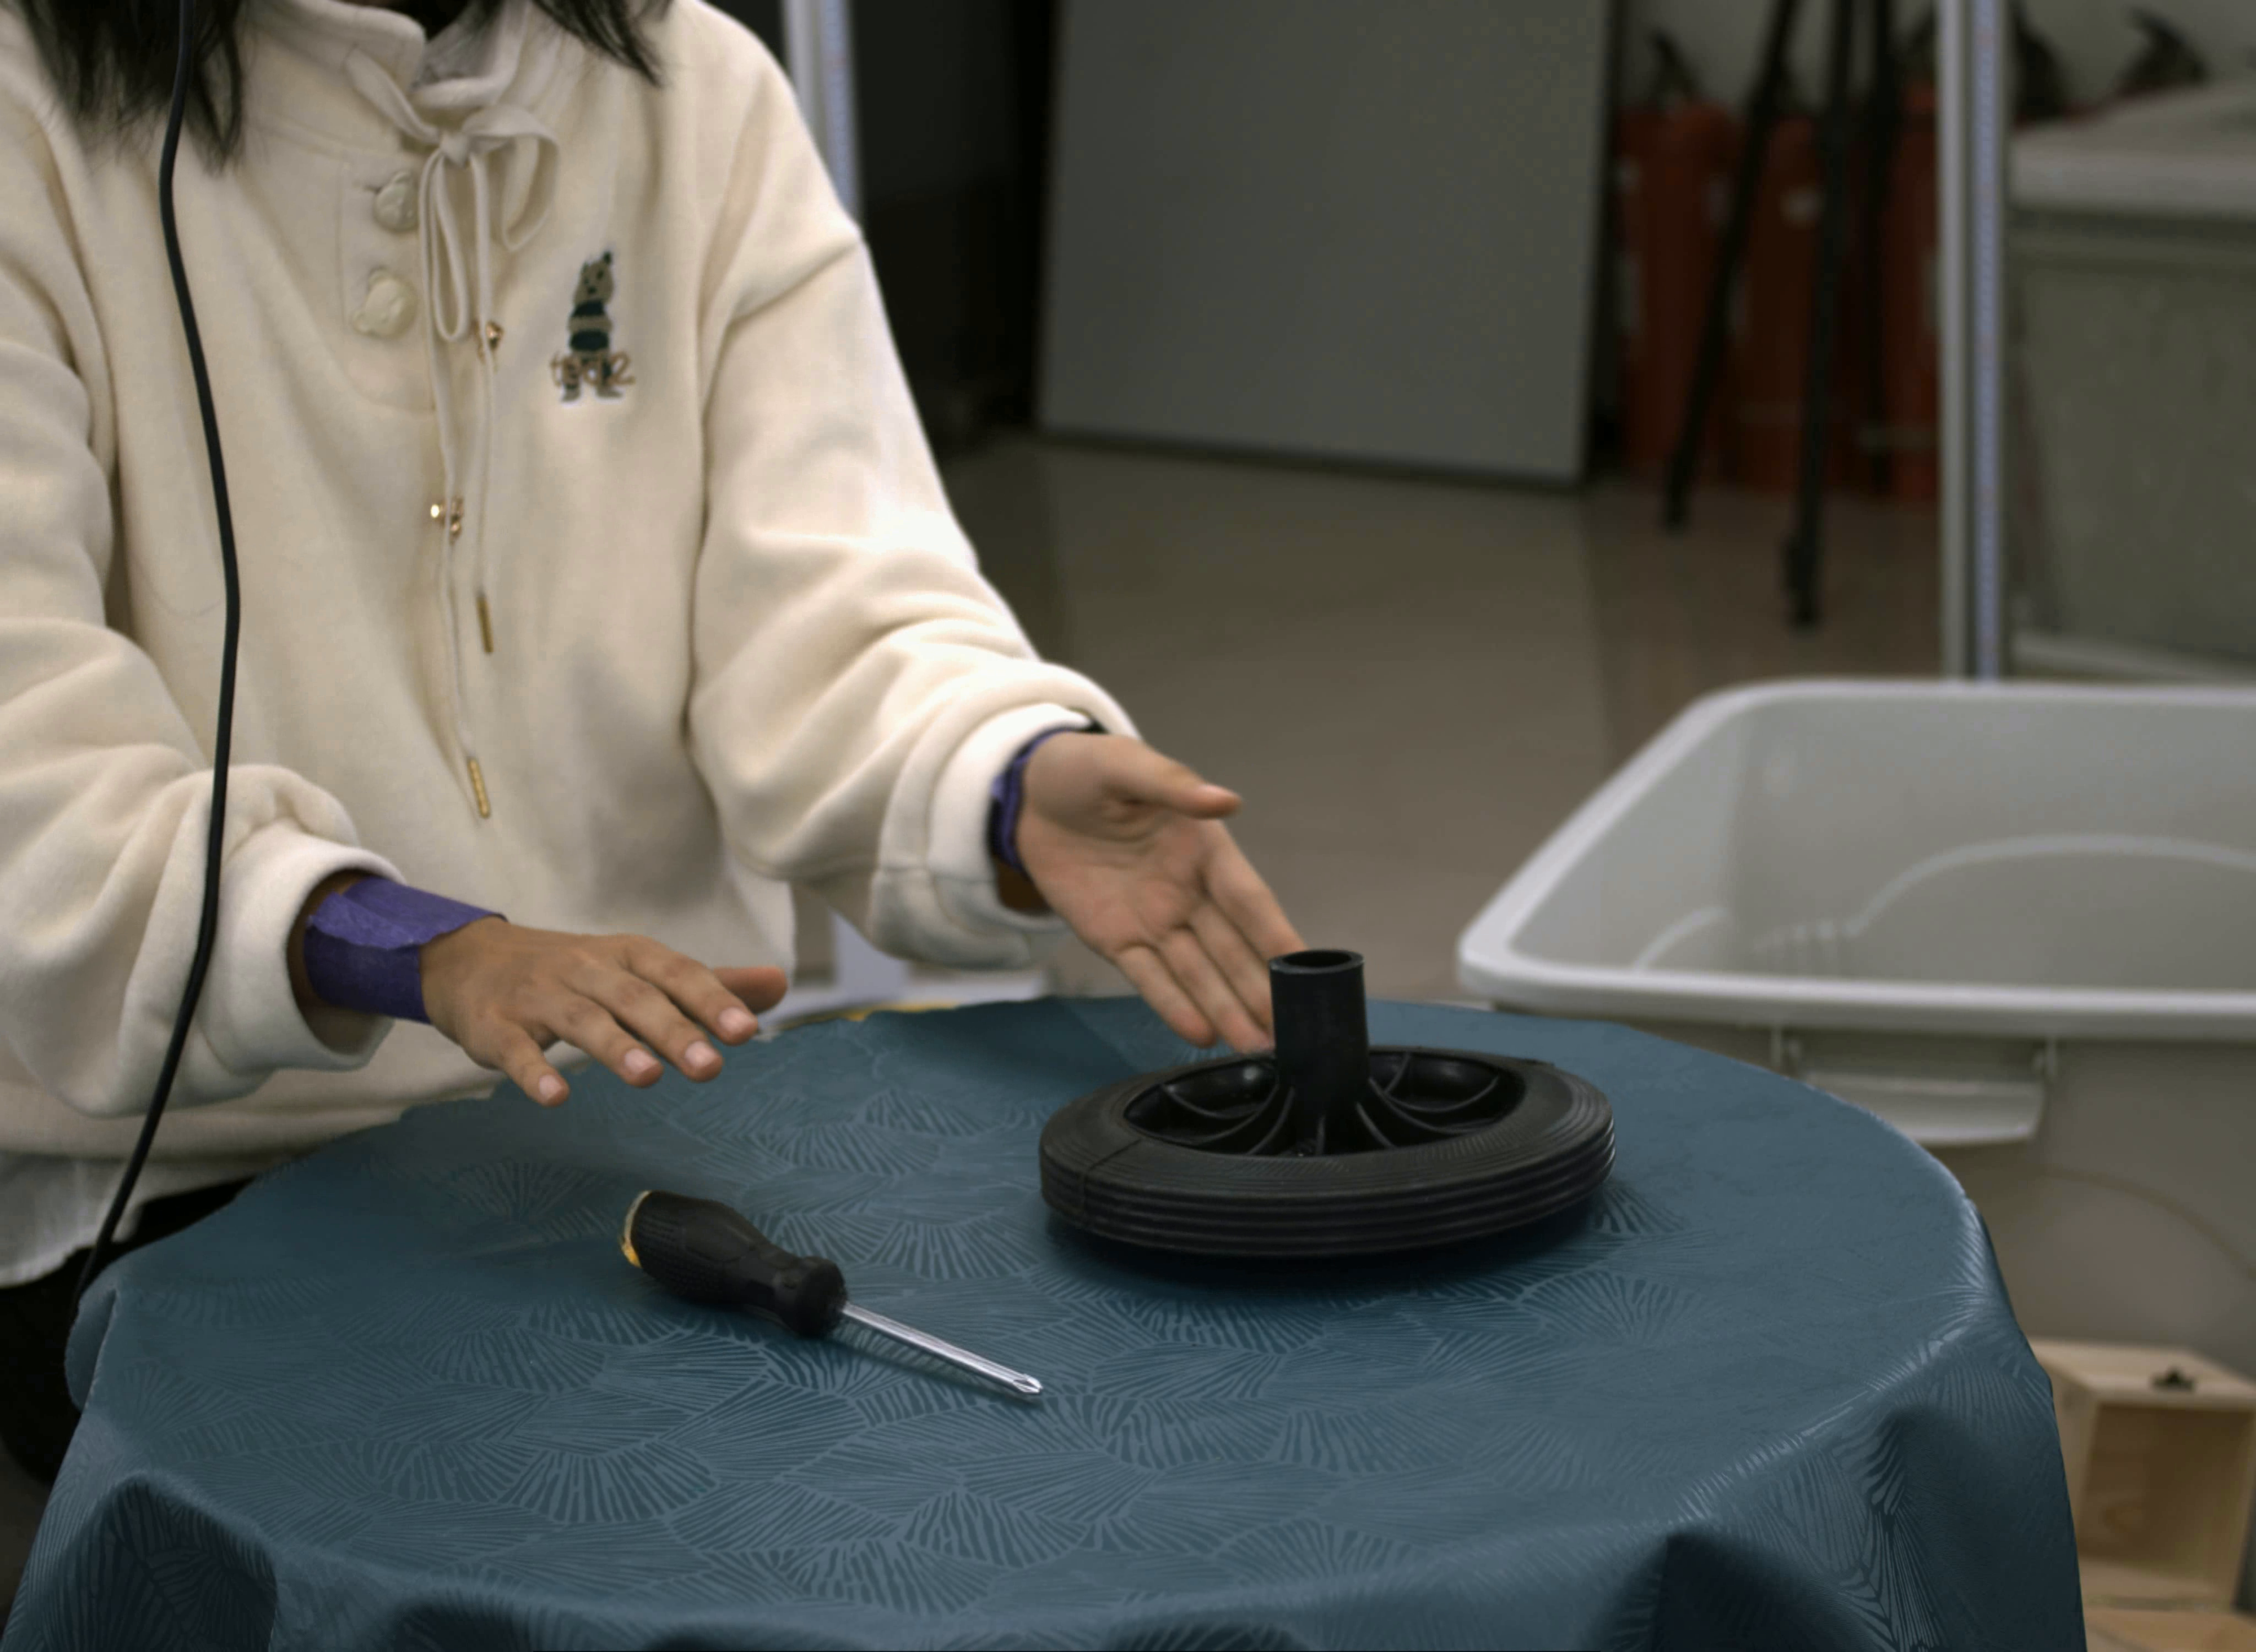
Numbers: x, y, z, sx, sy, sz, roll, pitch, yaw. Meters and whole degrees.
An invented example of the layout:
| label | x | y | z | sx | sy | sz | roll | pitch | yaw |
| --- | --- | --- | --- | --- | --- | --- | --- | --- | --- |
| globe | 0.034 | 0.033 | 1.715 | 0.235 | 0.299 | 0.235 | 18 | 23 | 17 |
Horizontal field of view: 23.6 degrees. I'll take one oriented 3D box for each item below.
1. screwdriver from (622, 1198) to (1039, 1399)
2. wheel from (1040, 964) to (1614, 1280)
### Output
| label | x | y | z | sx | sy | sz | roll | pitch | yaw |
| --- | --- | --- | --- | --- | --- | --- | --- | --- | --- |
| screwdriver | -0.088 | 0.145 | 1.649 | 0.031 | 0.032 | 0.198 | -15 | 20 | -41 |
| wheel | 0.063 | 0.087 | 1.731 | 0.185 | 0.080 | 0.189 | -3 | 13 | 5 |
